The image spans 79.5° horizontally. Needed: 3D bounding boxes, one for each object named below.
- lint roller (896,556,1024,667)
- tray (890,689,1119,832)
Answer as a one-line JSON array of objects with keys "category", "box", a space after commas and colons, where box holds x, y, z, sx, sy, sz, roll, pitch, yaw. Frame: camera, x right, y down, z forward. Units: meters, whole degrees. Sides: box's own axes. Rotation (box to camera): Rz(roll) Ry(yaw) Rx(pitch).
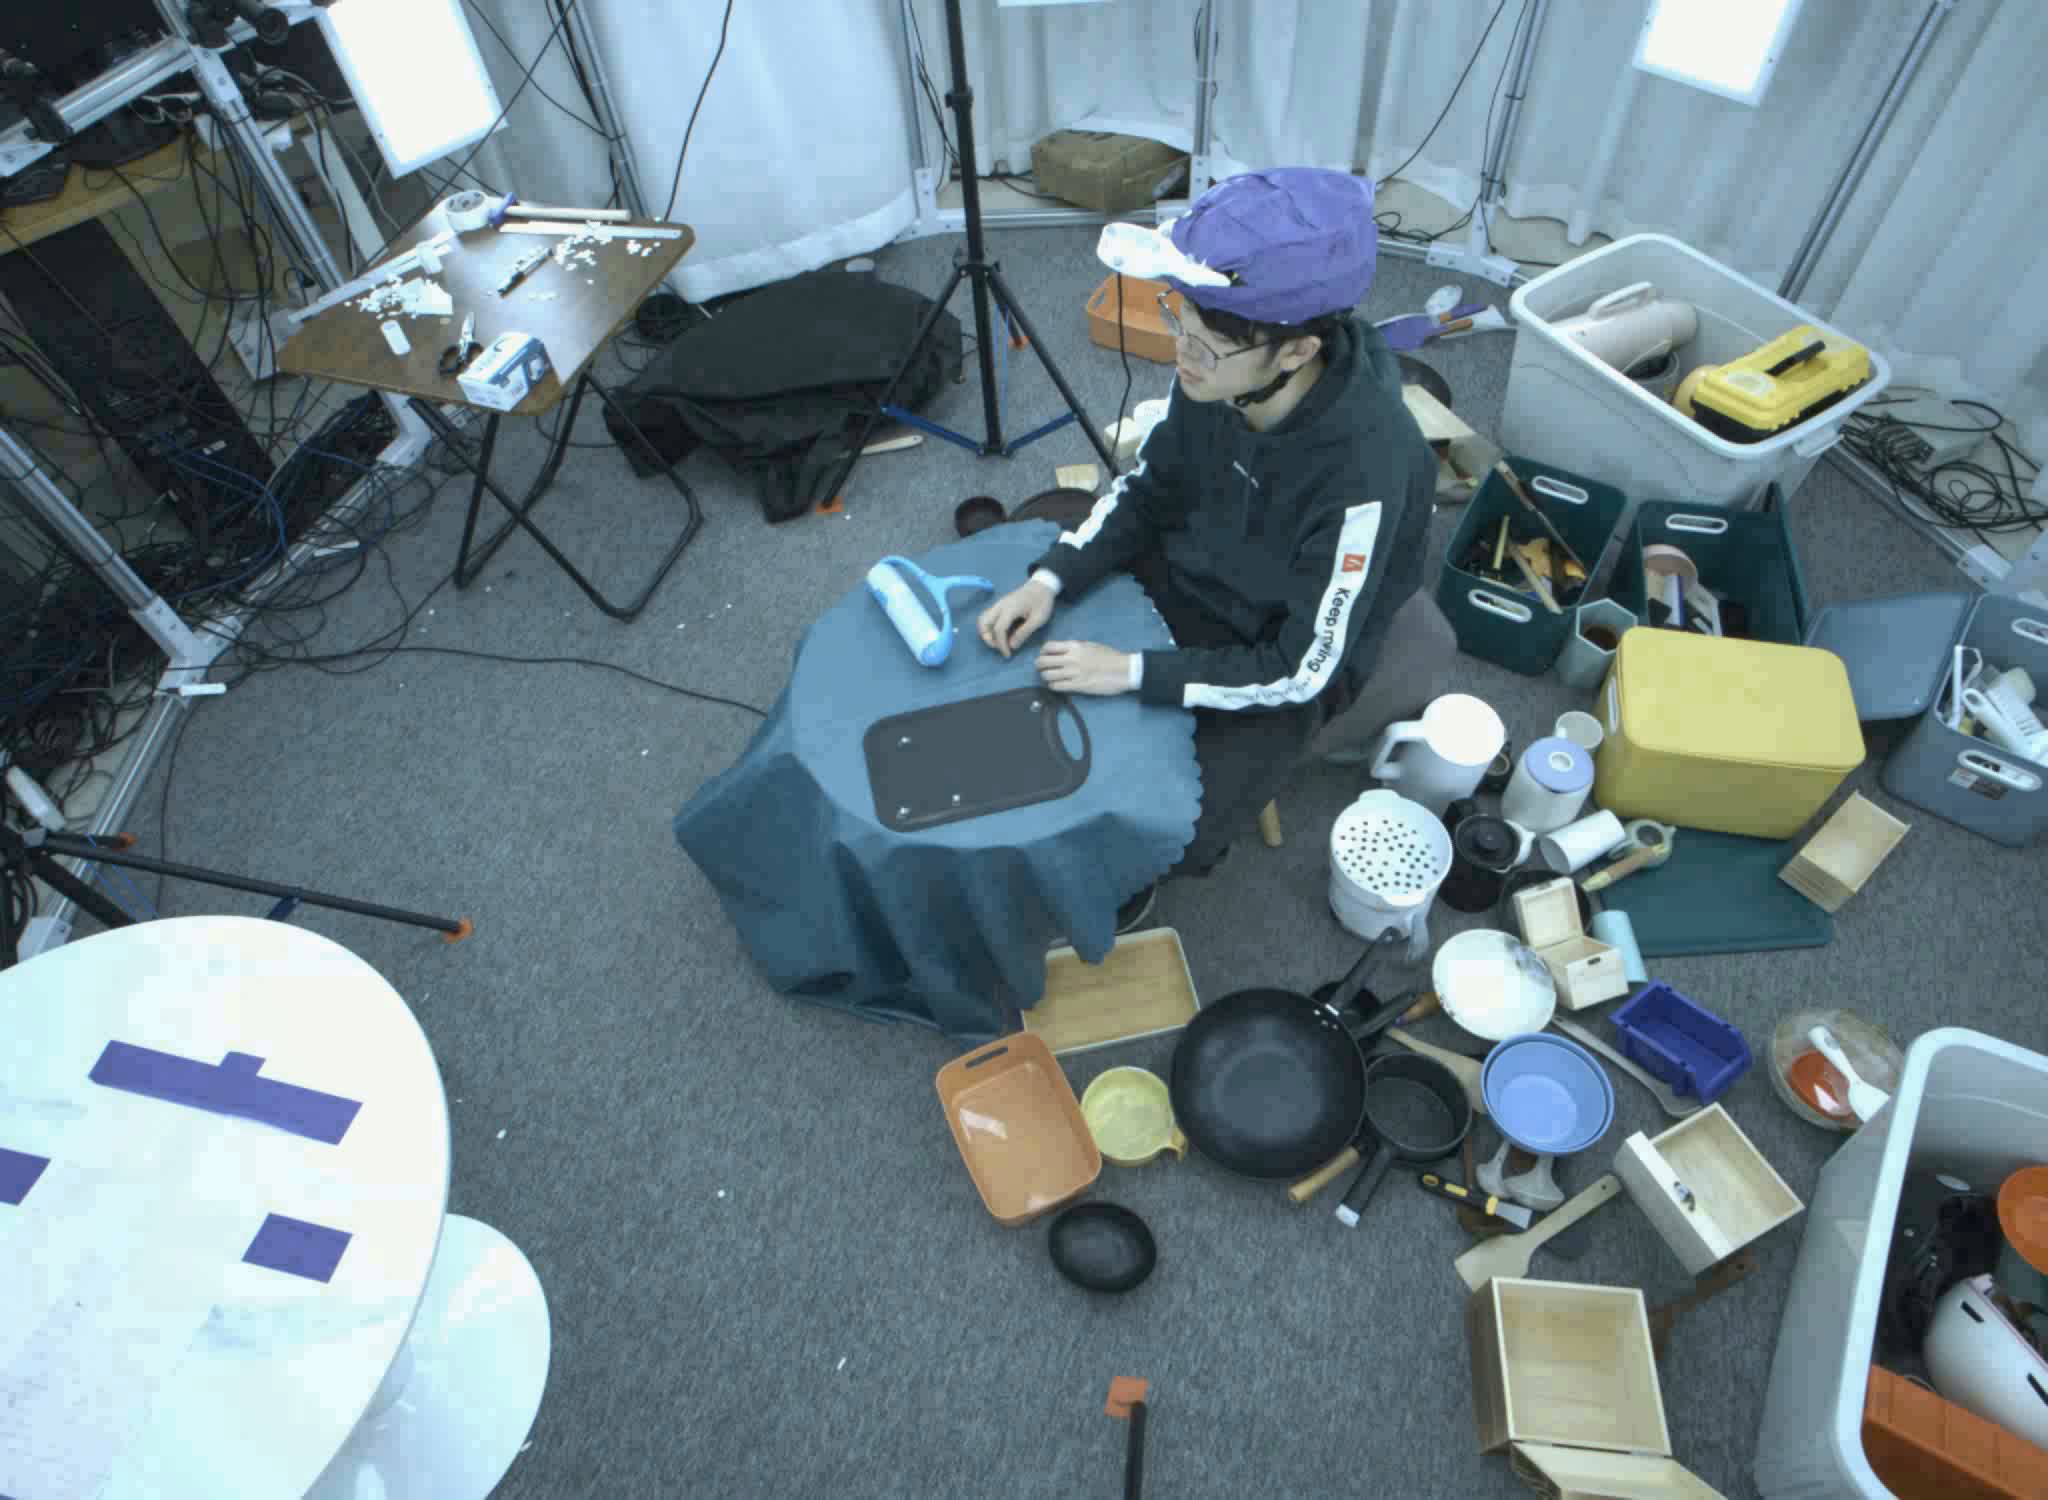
[{"category": "lint roller", "box": [-0.085, -0.239, 1.921, 0.181, 0.069, 0.224, -28, 56, -15]}, {"category": "tray", "box": [-0.026, 0.008, 1.774, 0.327, 0.010, 0.208, -10, 55, -5]}]
